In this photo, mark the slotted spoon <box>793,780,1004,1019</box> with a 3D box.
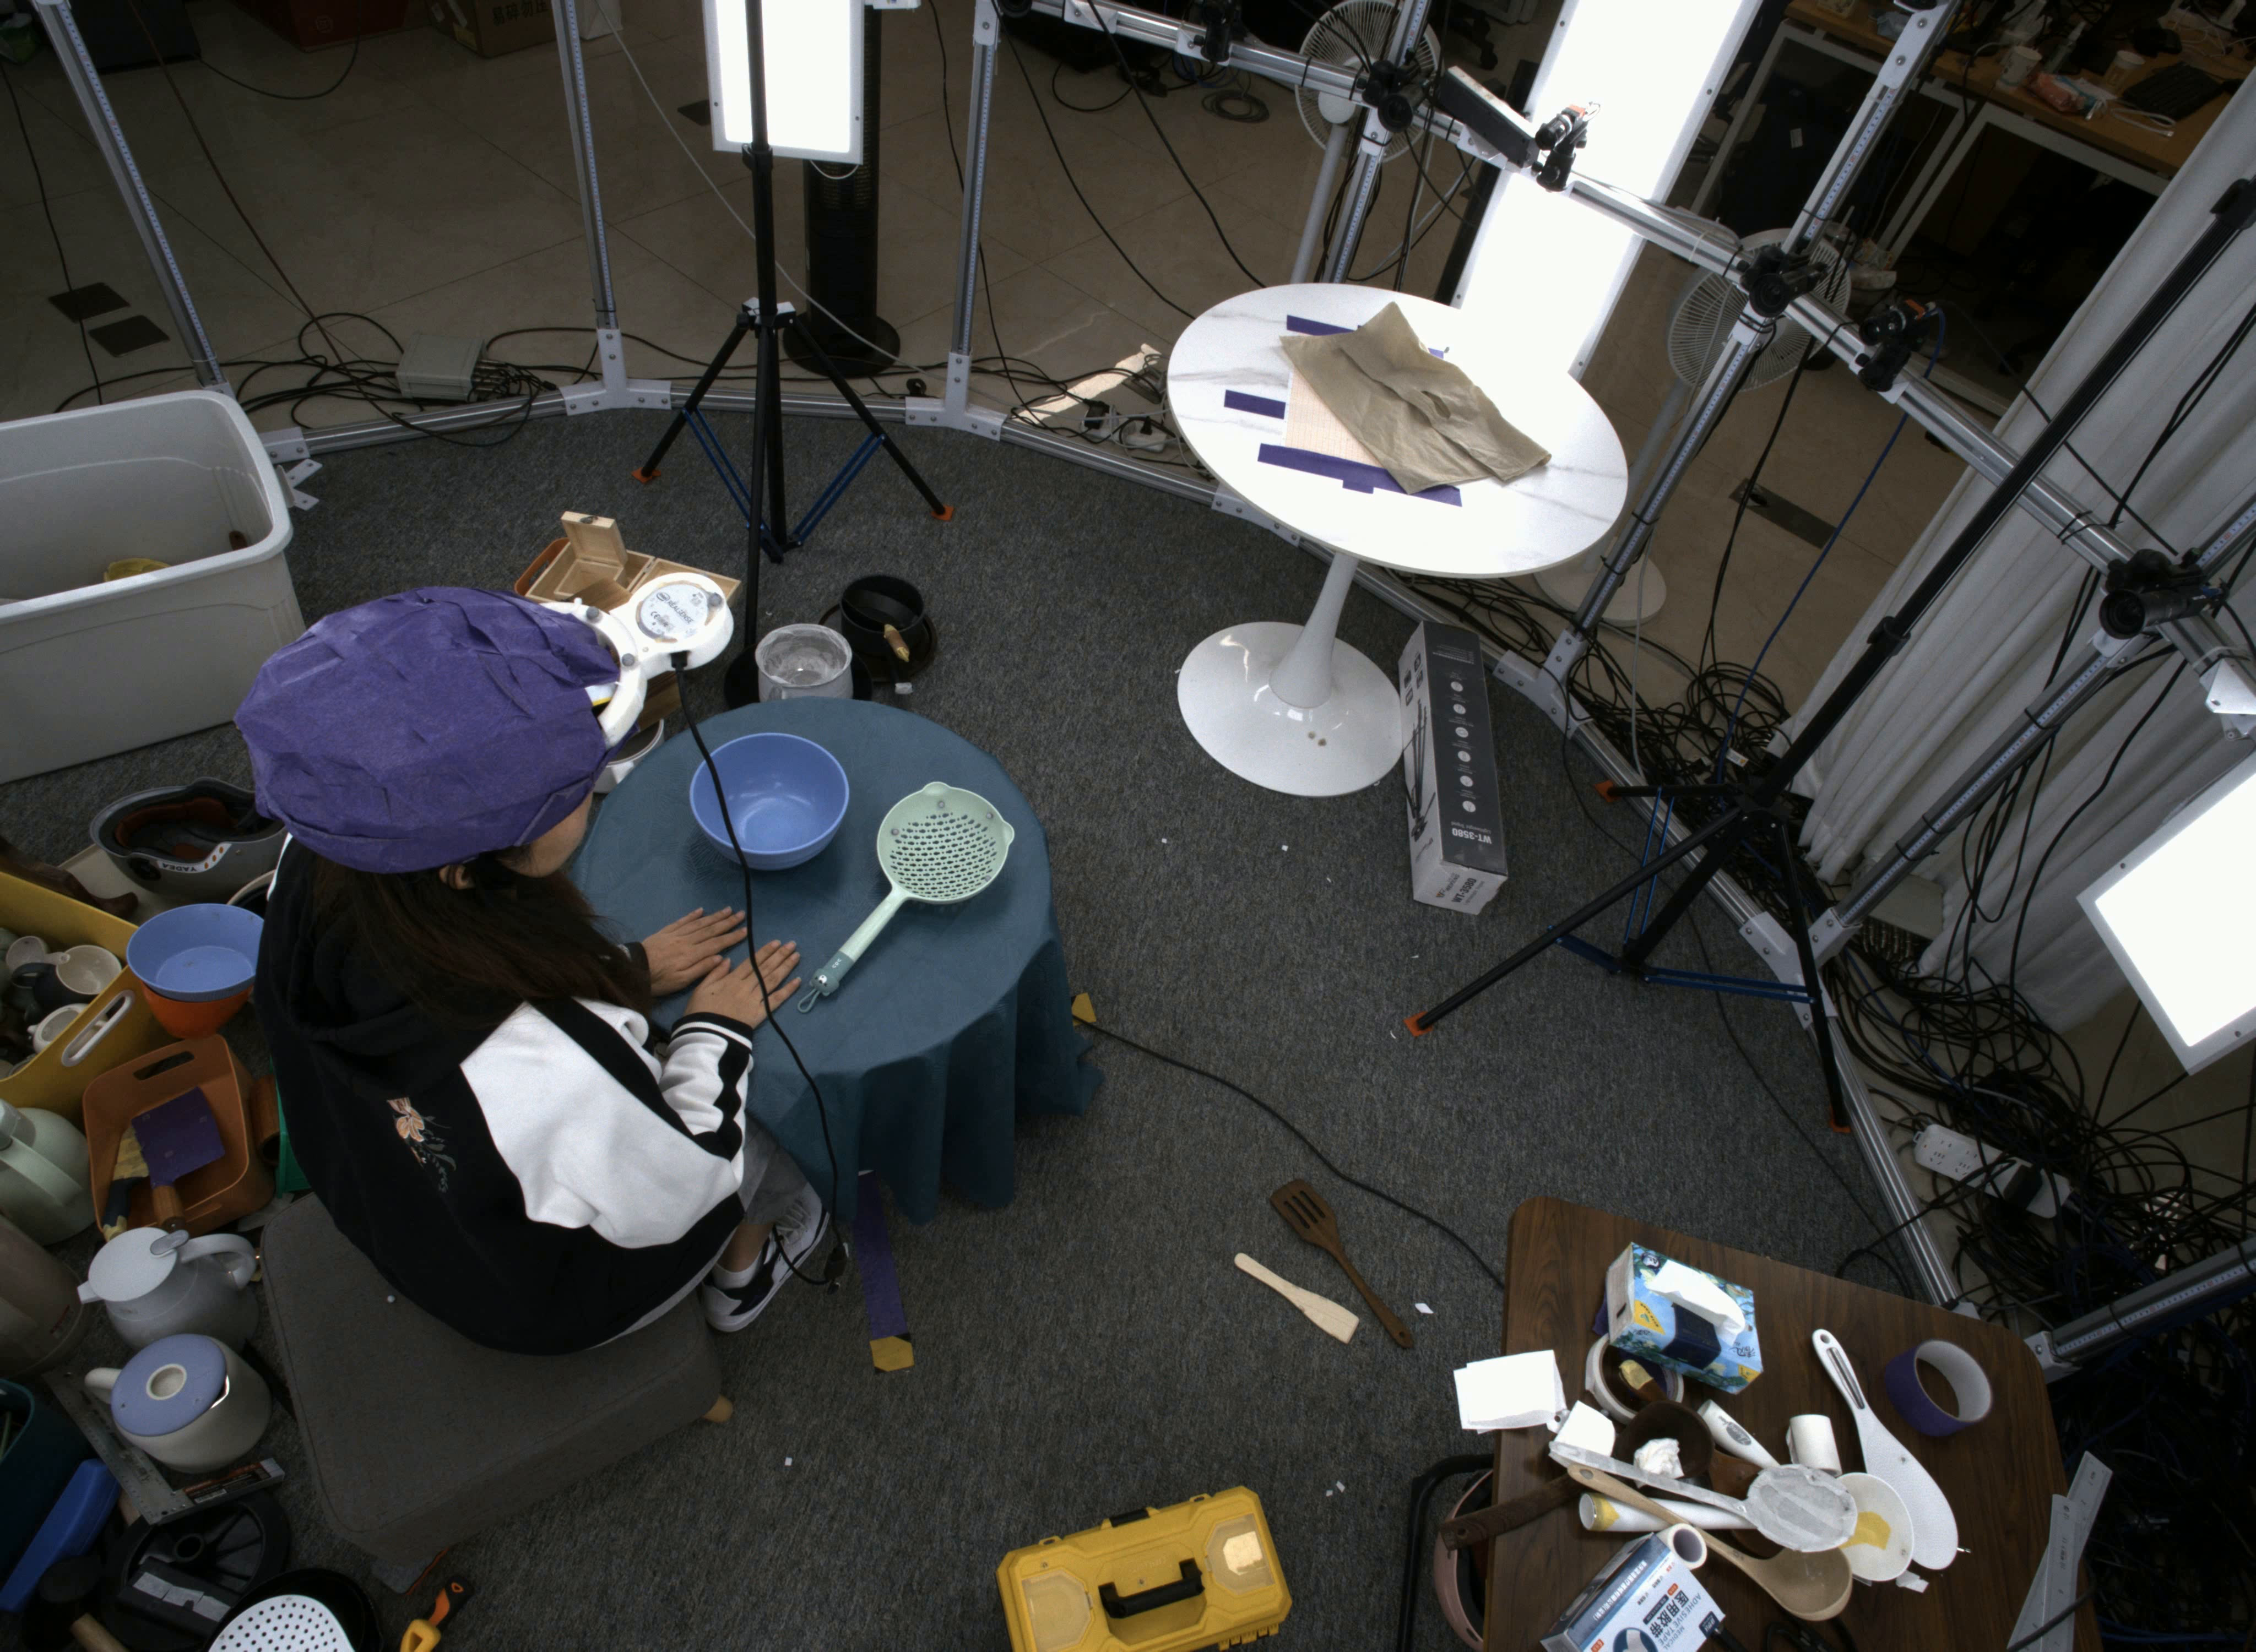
[{"bbox_3d":[-0.303,0.094,1.643,0.166,0.077,0.358,31,54,11],"label":"slotted spoon"}]

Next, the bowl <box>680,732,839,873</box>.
[{"bbox_3d":[-0.469,-0.016,1.658,0.196,0.097,0.193,8,53,-9],"label":"bowl"}]
